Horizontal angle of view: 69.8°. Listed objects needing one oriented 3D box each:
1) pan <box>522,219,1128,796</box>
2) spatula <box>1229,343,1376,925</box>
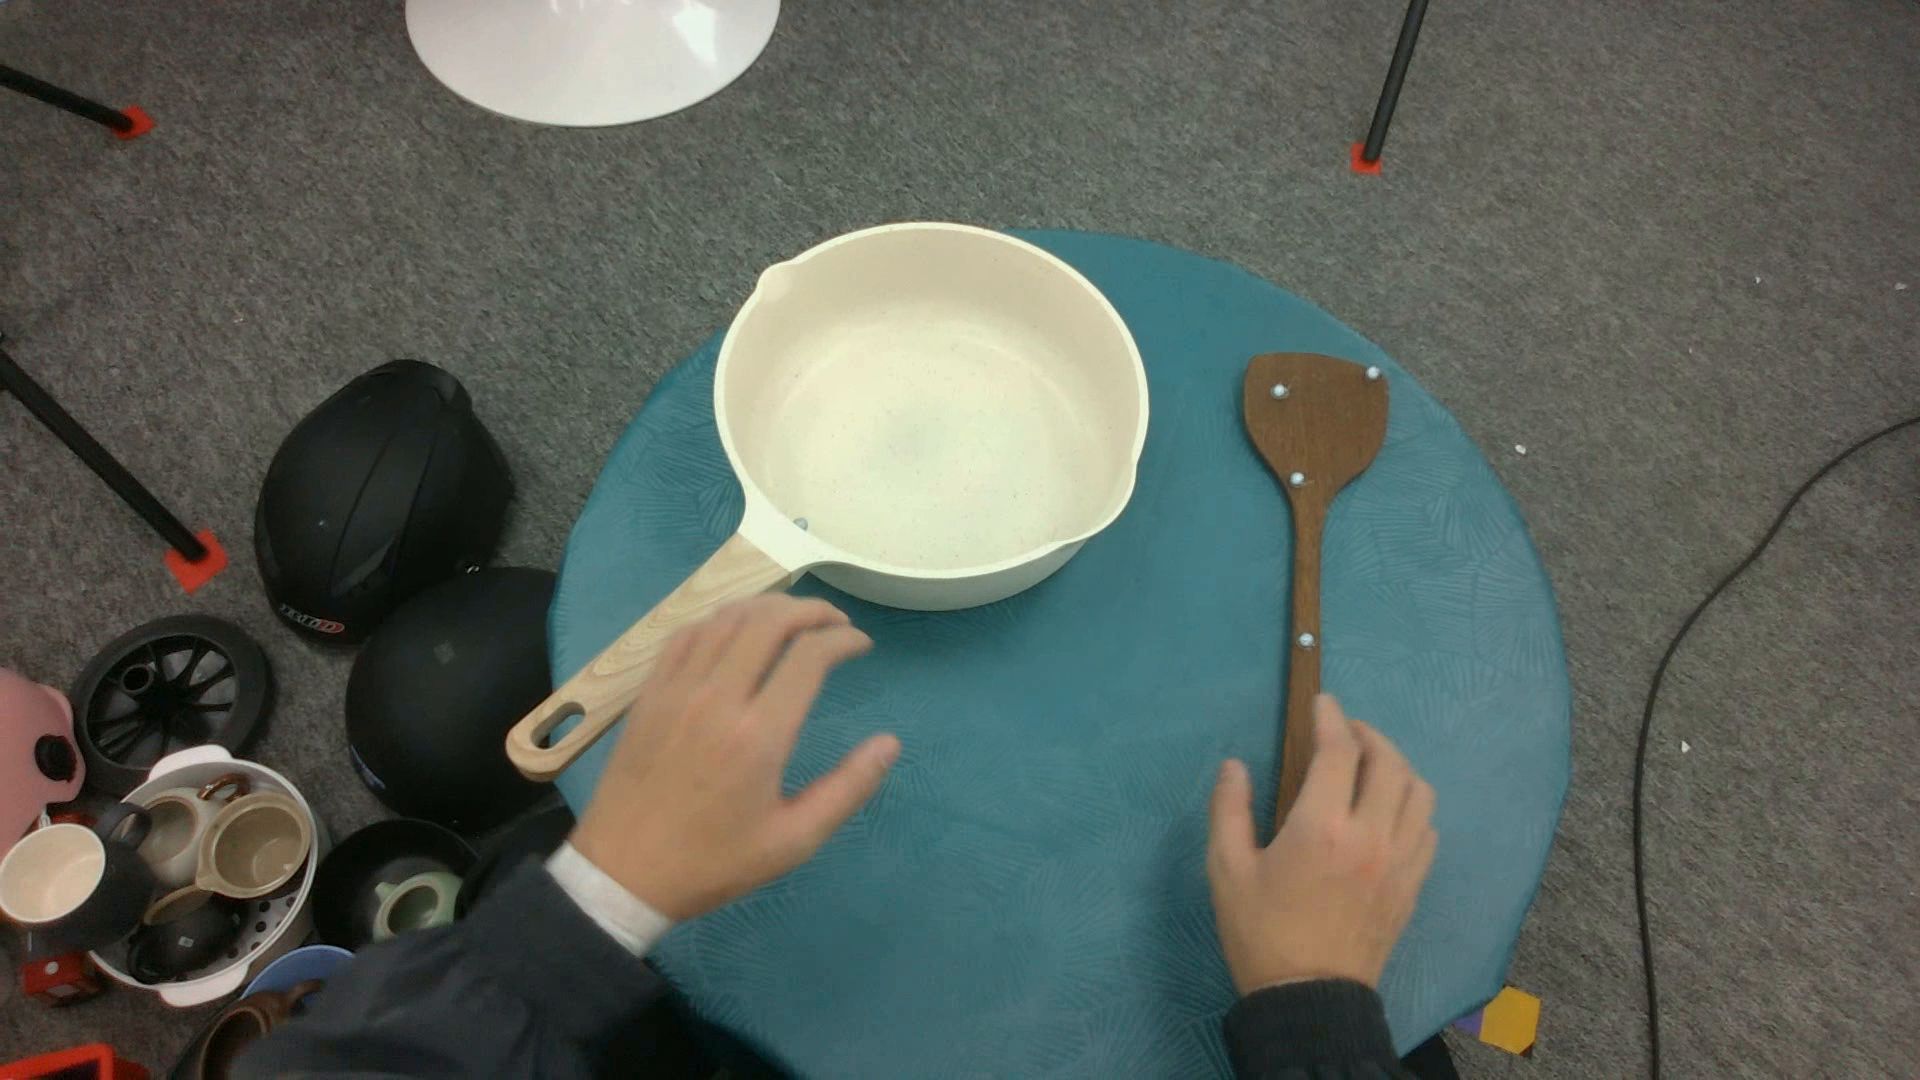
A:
[{"bbox_3d":[-0.082,-0.013,0.795,0.263,0.101,0.436,34,64,14],"label":"pan"},{"bbox_3d":[0.206,0.037,0.830,0.096,0.016,0.387,7,61,2],"label":"spatula"}]
